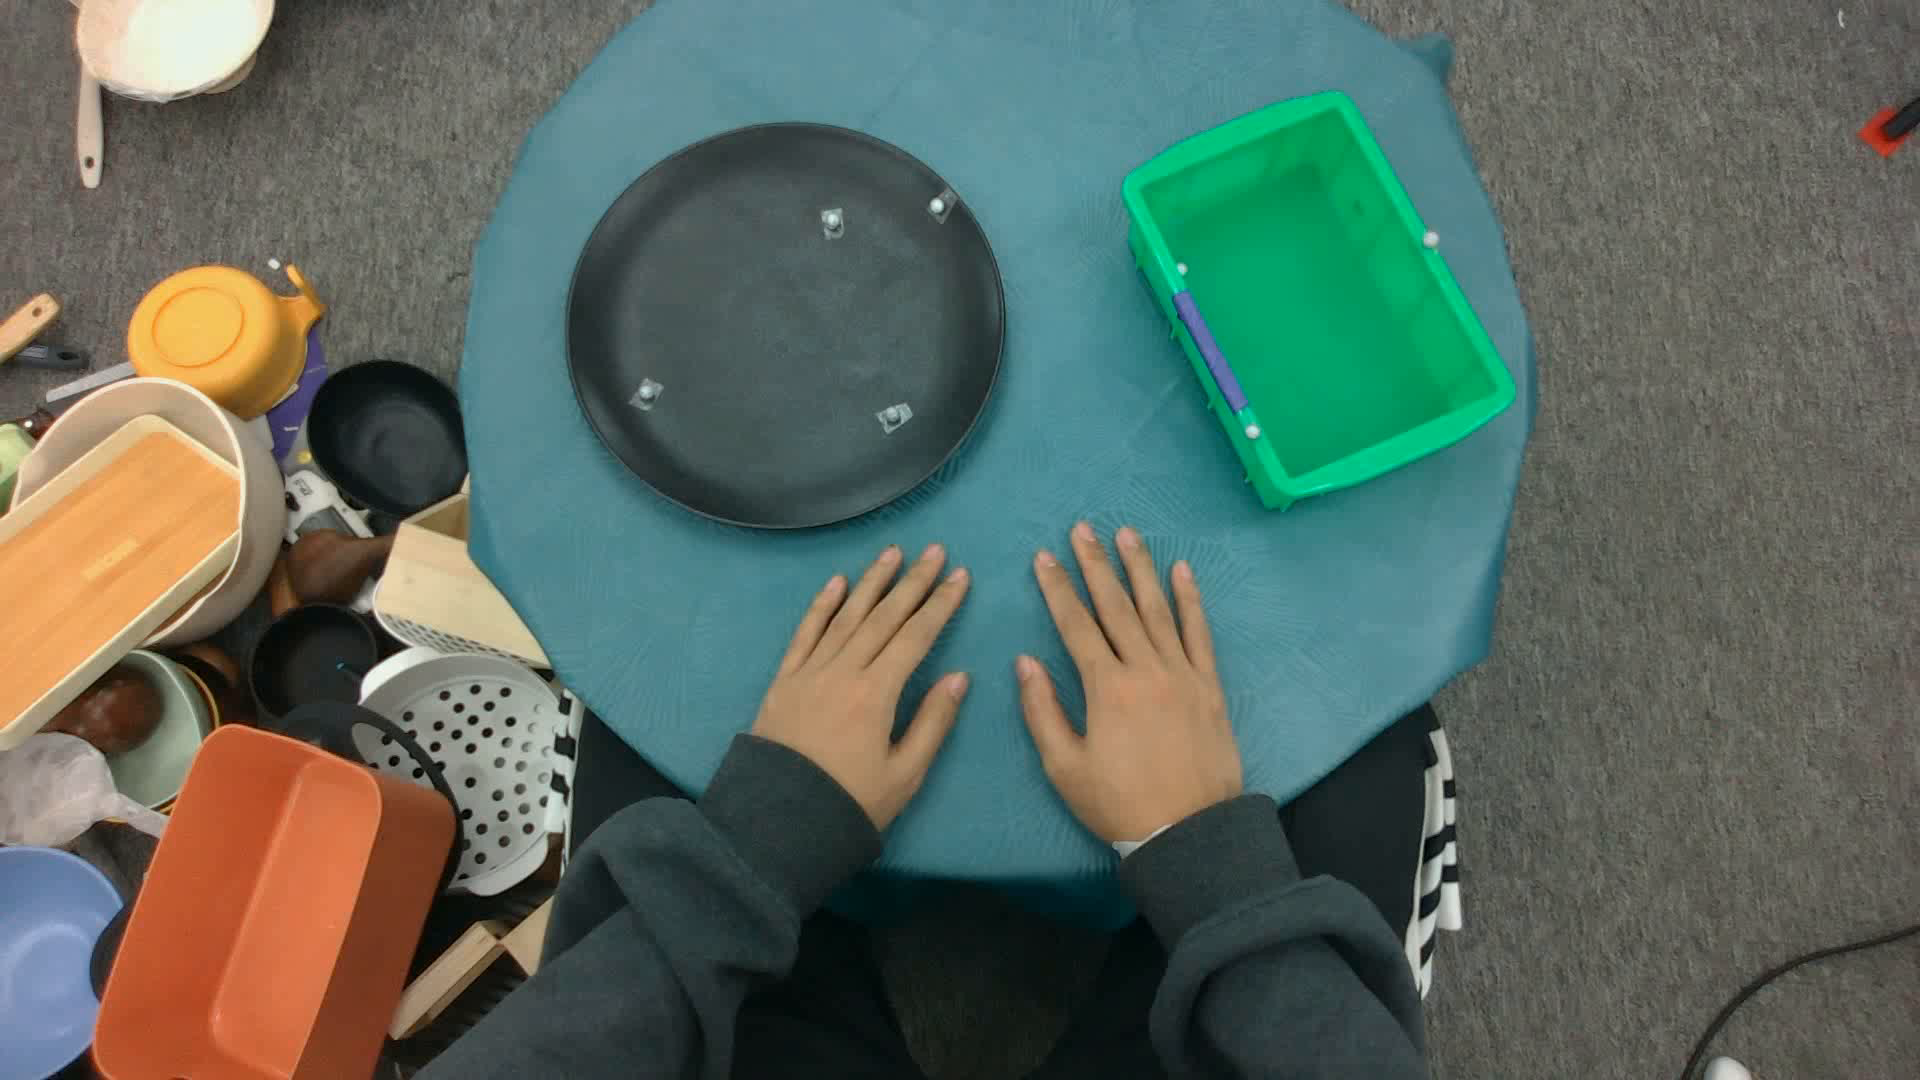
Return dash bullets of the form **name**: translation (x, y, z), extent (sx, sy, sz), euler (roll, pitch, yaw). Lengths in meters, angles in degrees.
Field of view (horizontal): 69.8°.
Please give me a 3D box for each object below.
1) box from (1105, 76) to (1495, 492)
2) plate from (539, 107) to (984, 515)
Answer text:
- **box**: translation (0.177, -0.135, 0.751), extent (0.139, 0.065, 0.210), euler (-25, 79, -5)
- **plate**: translation (-0.108, -0.128, 0.766), extent (0.244, 0.023, 0.245), euler (0, 75, -1)
